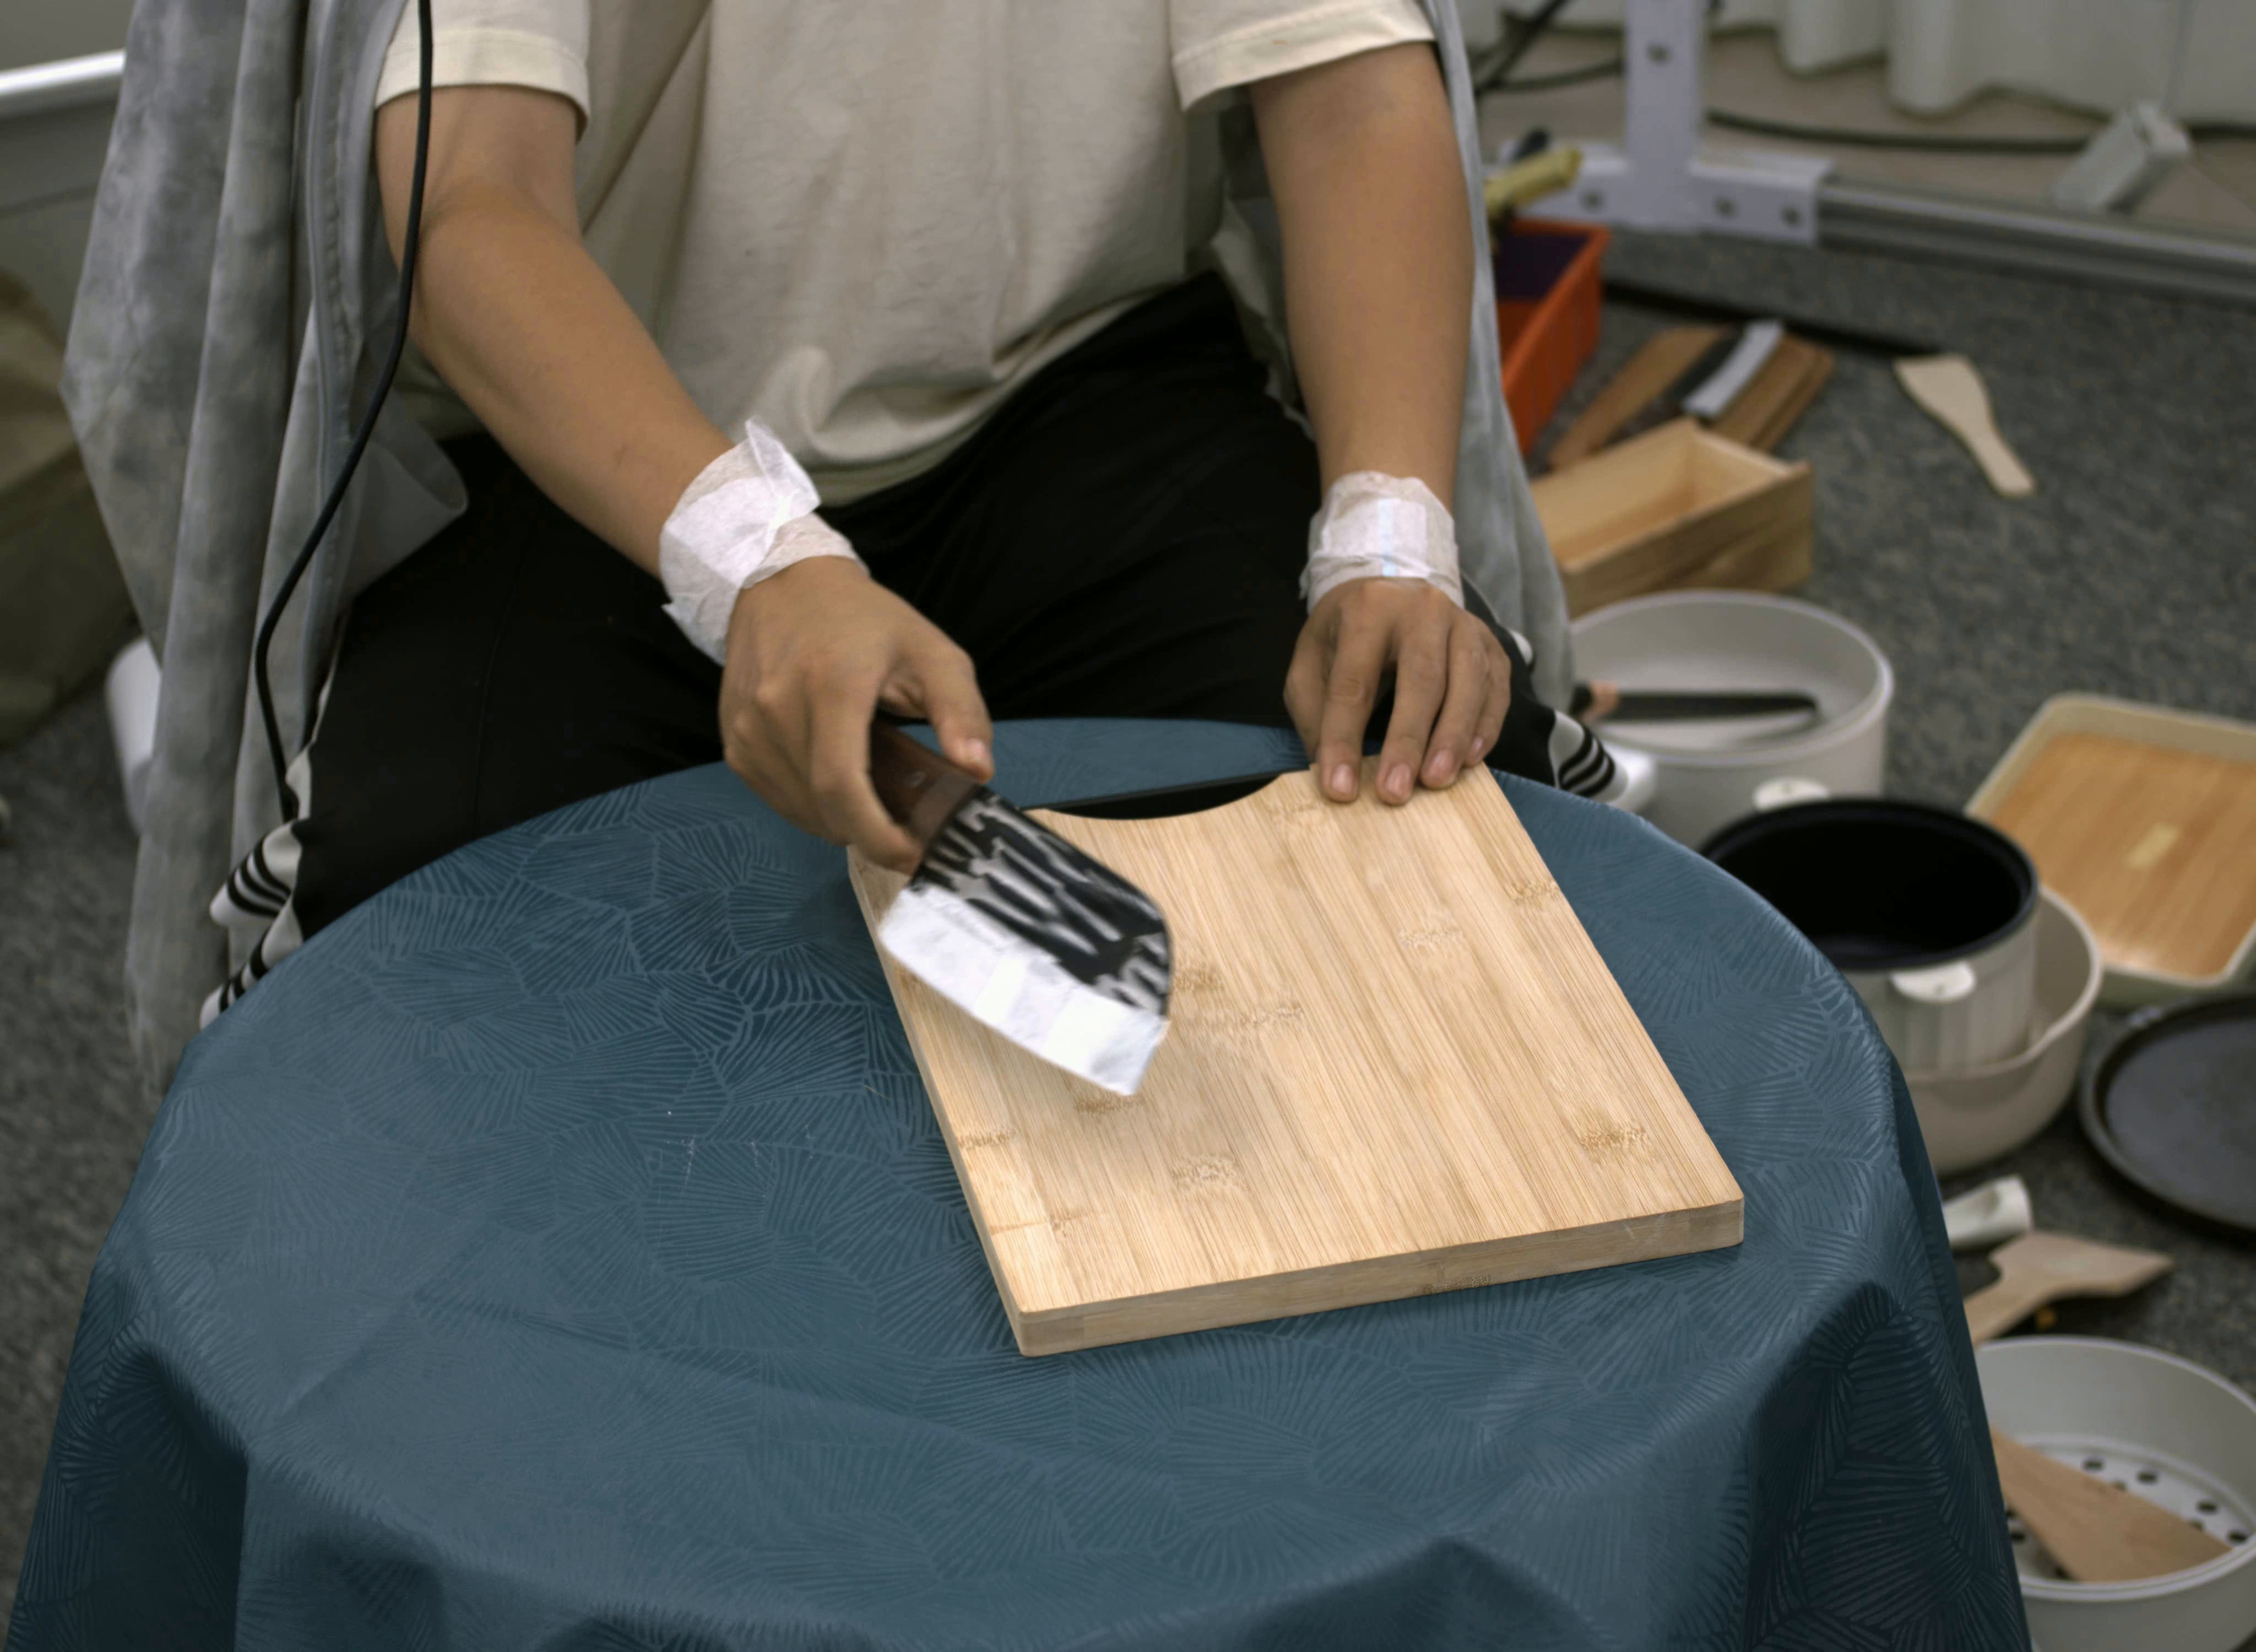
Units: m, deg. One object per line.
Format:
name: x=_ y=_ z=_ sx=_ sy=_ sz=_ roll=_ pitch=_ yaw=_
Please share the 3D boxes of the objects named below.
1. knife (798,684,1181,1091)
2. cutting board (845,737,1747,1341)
knife: x=-0.053 y=0.019 z=1.928 sx=0.068 sy=0.024 sz=0.300 roll=-53 pitch=35 yaw=-2
cutting board: x=0.048 y=0.067 z=1.944 sx=0.250 sy=0.023 sz=0.352 roll=-8 pitch=27 yaw=-11
